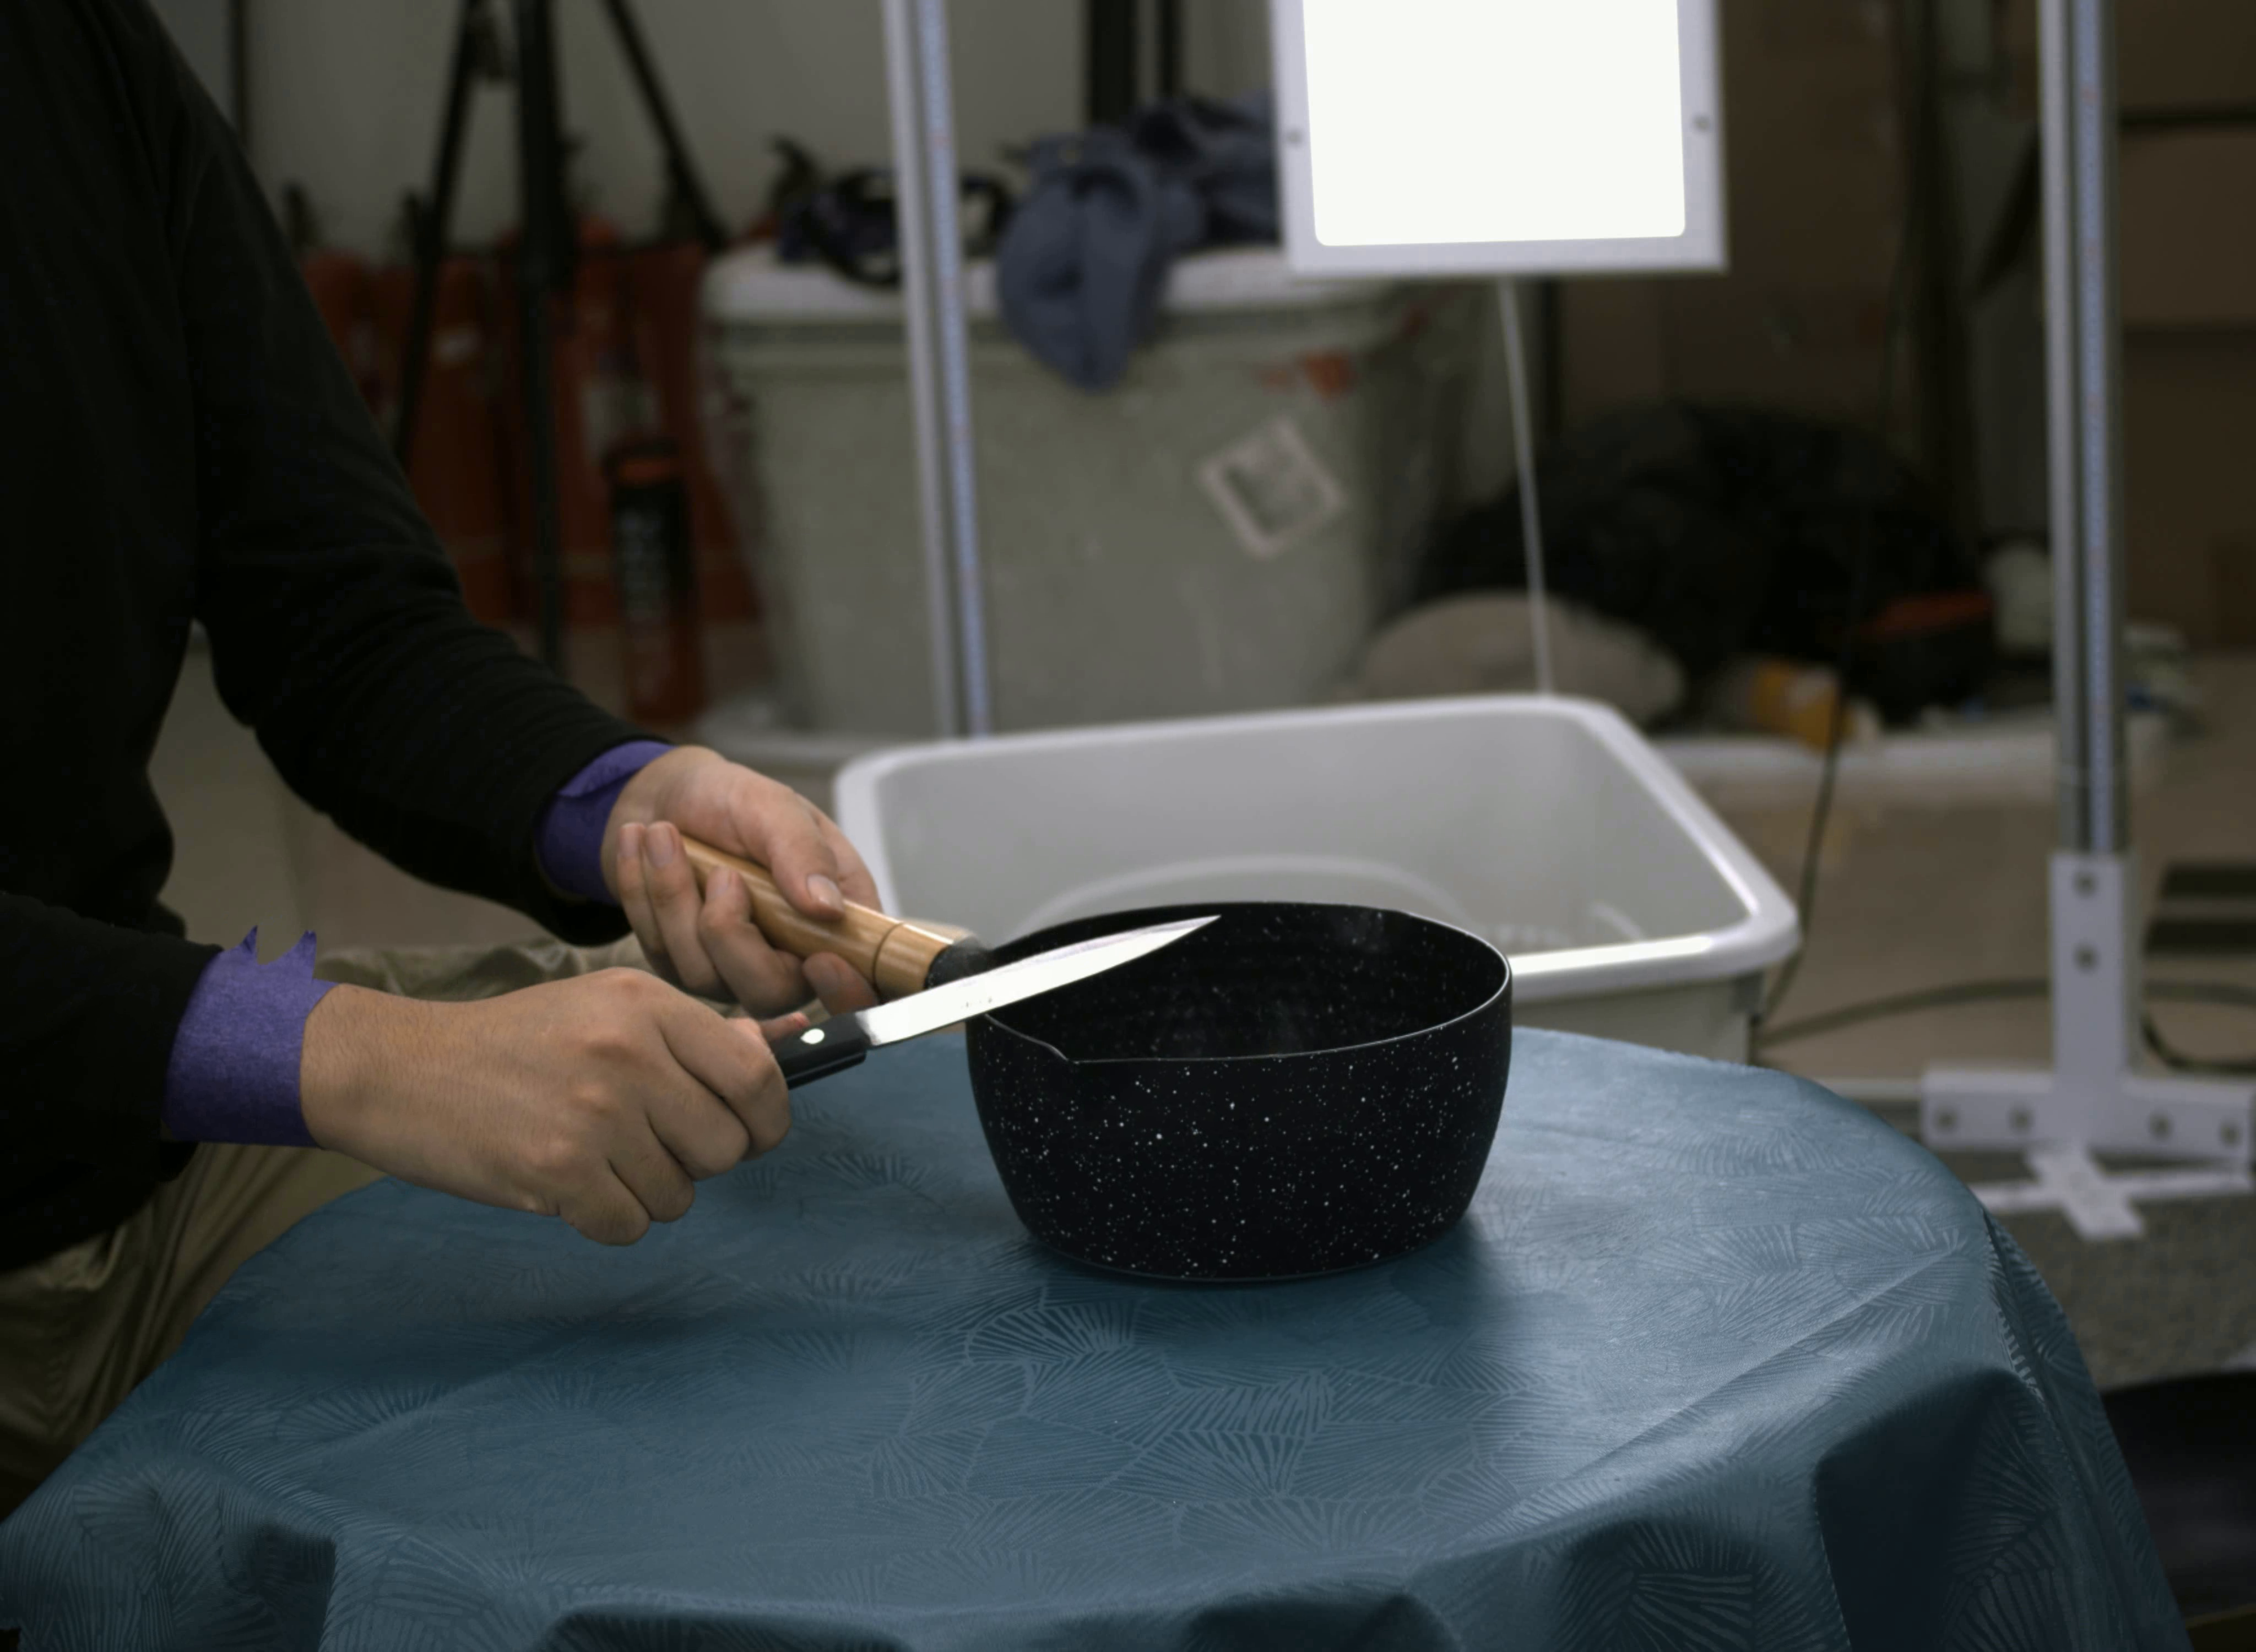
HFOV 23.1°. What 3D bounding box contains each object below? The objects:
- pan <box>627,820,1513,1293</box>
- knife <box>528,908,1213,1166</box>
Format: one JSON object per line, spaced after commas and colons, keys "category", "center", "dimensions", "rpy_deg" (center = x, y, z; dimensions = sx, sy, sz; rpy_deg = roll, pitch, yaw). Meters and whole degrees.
{"category": "pan", "center": [-0.031, 0.072, 1.885], "dimensions": [0.349, 0.109, 0.202], "rpy_deg": [8, 19, 31]}
{"category": "knife", "center": [-0.083, 0.068, 1.812], "dimensions": [0.237, 0.016, 0.024], "rpy_deg": [-19, 35, -1]}
